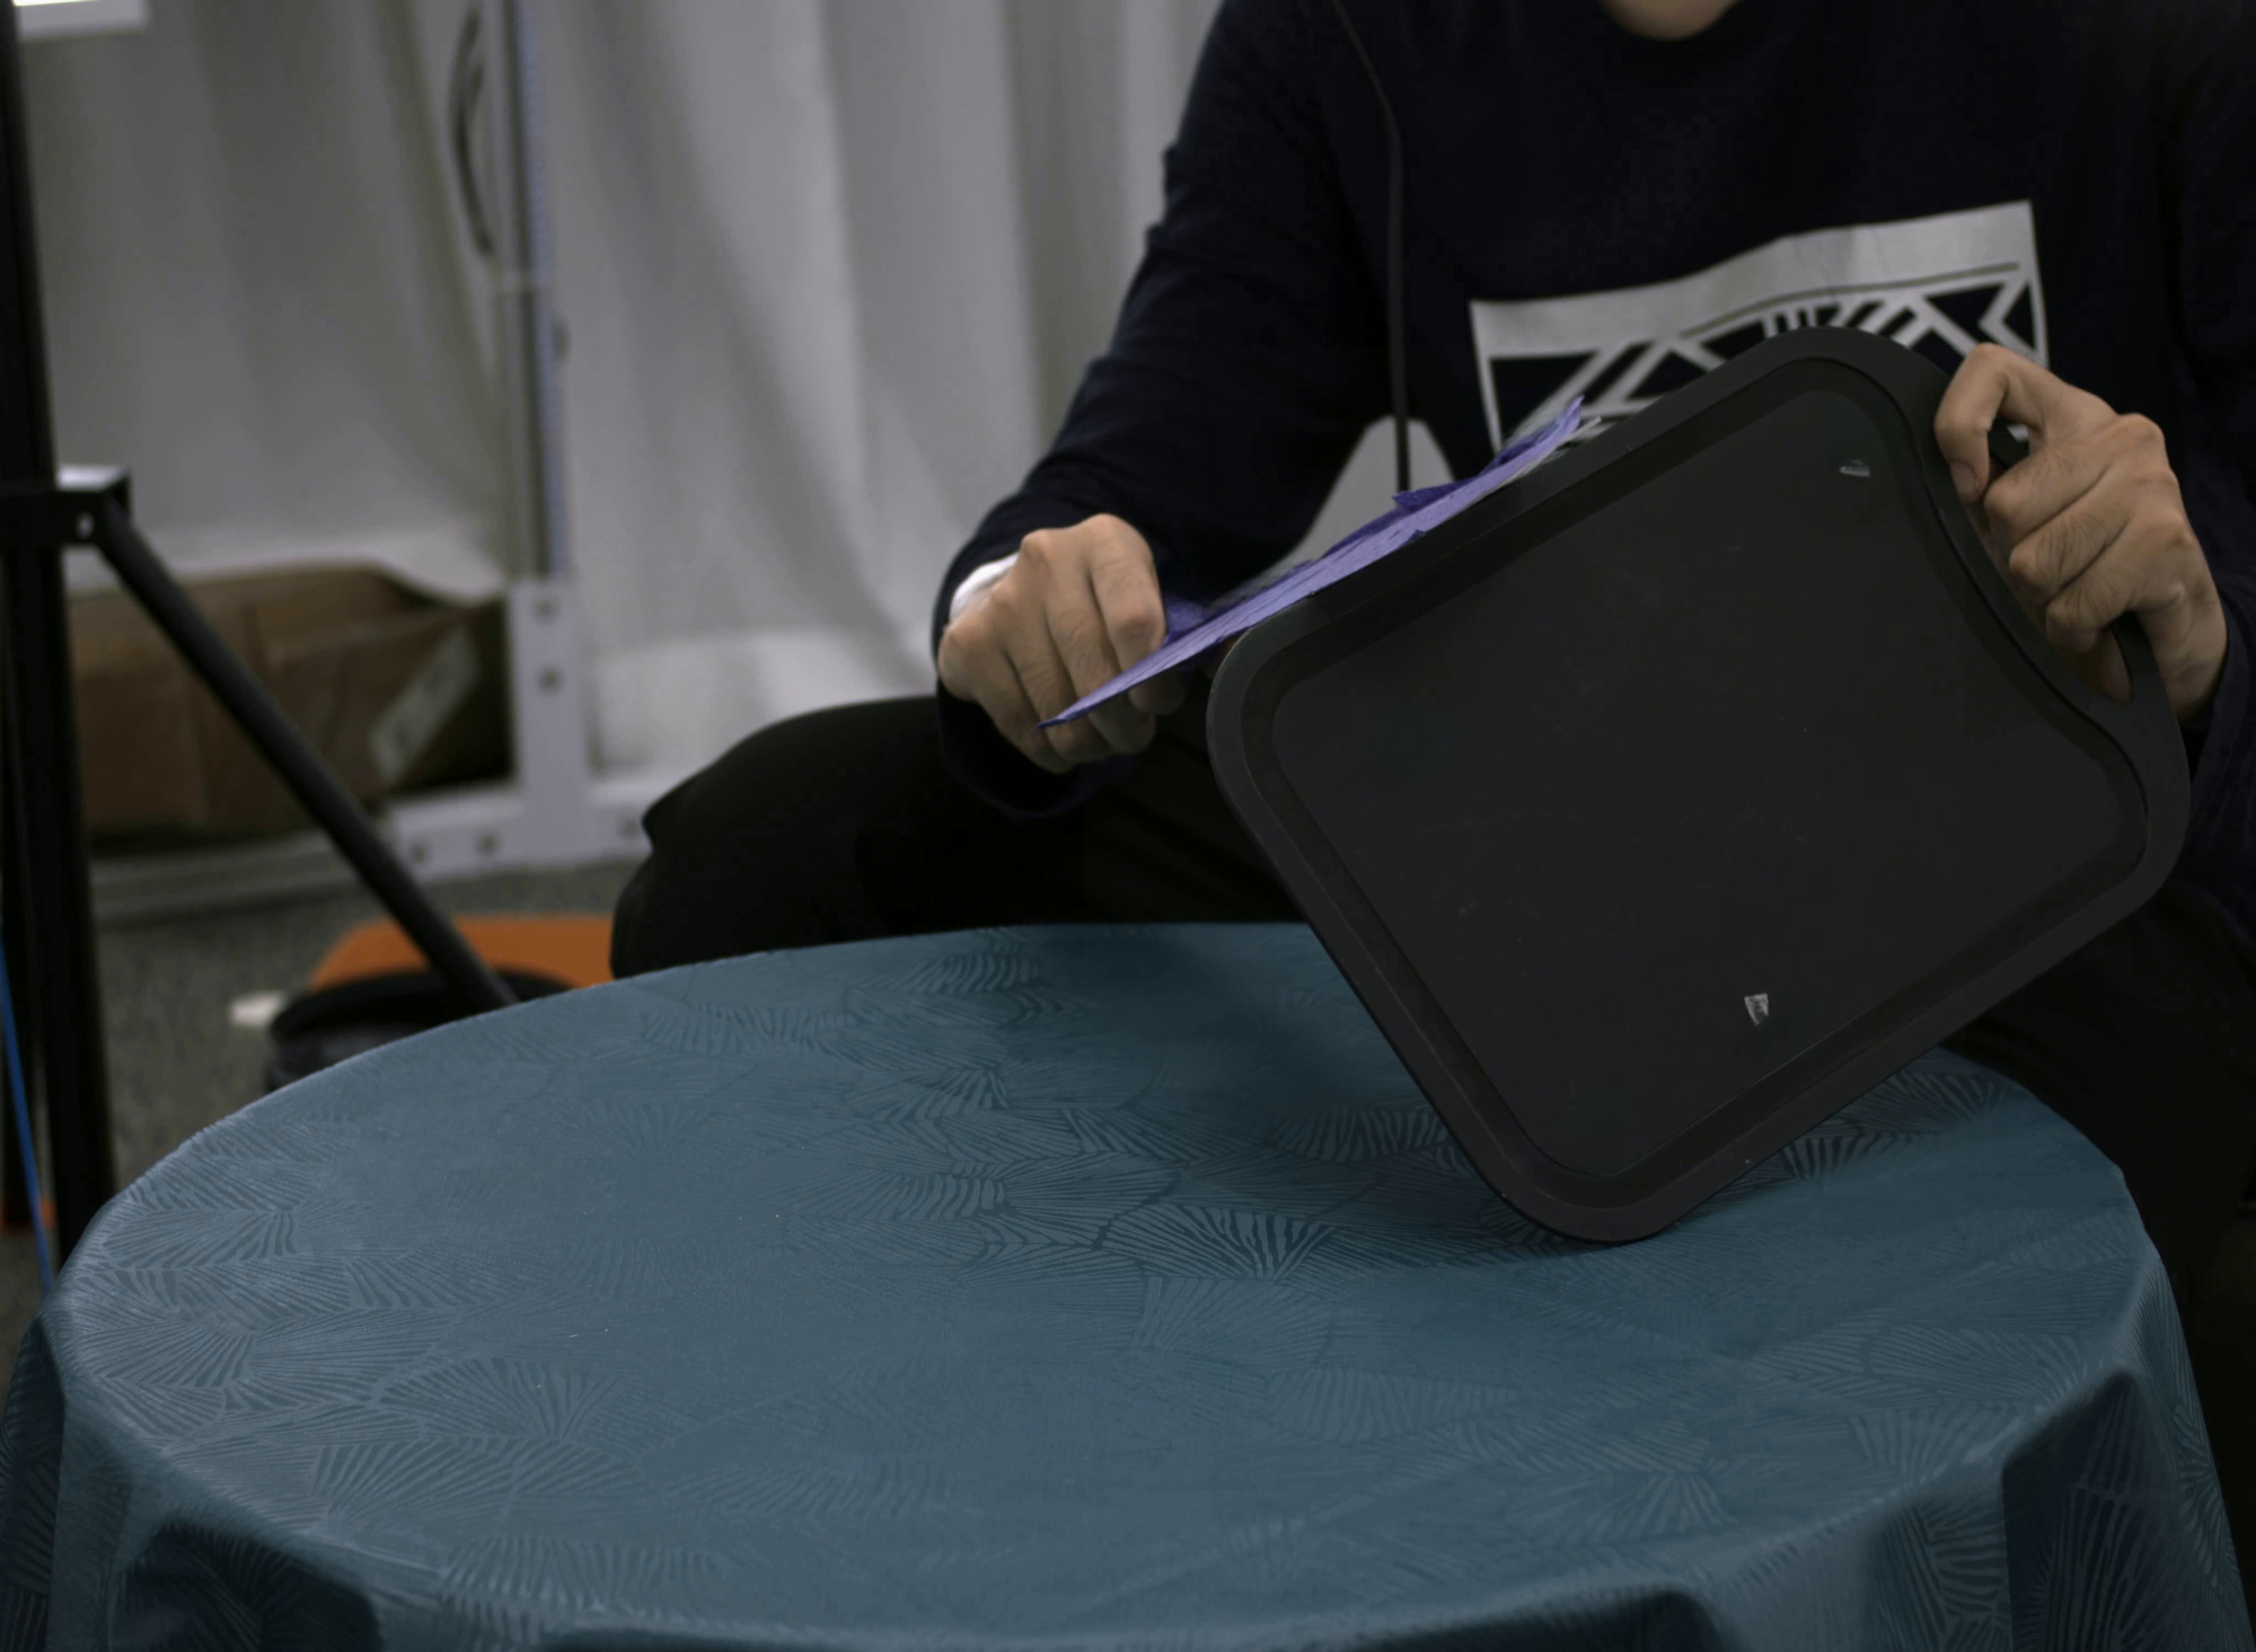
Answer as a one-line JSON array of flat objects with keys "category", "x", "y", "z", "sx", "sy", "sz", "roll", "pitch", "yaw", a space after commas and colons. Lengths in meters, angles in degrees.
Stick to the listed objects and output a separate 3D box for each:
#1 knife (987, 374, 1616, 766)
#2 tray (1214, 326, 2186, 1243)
[{"category": "knife", "x": 0.027, "y": -0.067, "z": 1.657, "sx": 0.102, "sy": 0.032, "sz": 0.320, "roll": -33, "pitch": 2, "yaw": -37}, {"category": "tray", "x": 0.183, "y": -0.023, "z": 1.581, "sx": 0.320, "sy": 0.213, "sz": 0.010, "roll": -29, "pitch": -9, "yaw": -30}]
